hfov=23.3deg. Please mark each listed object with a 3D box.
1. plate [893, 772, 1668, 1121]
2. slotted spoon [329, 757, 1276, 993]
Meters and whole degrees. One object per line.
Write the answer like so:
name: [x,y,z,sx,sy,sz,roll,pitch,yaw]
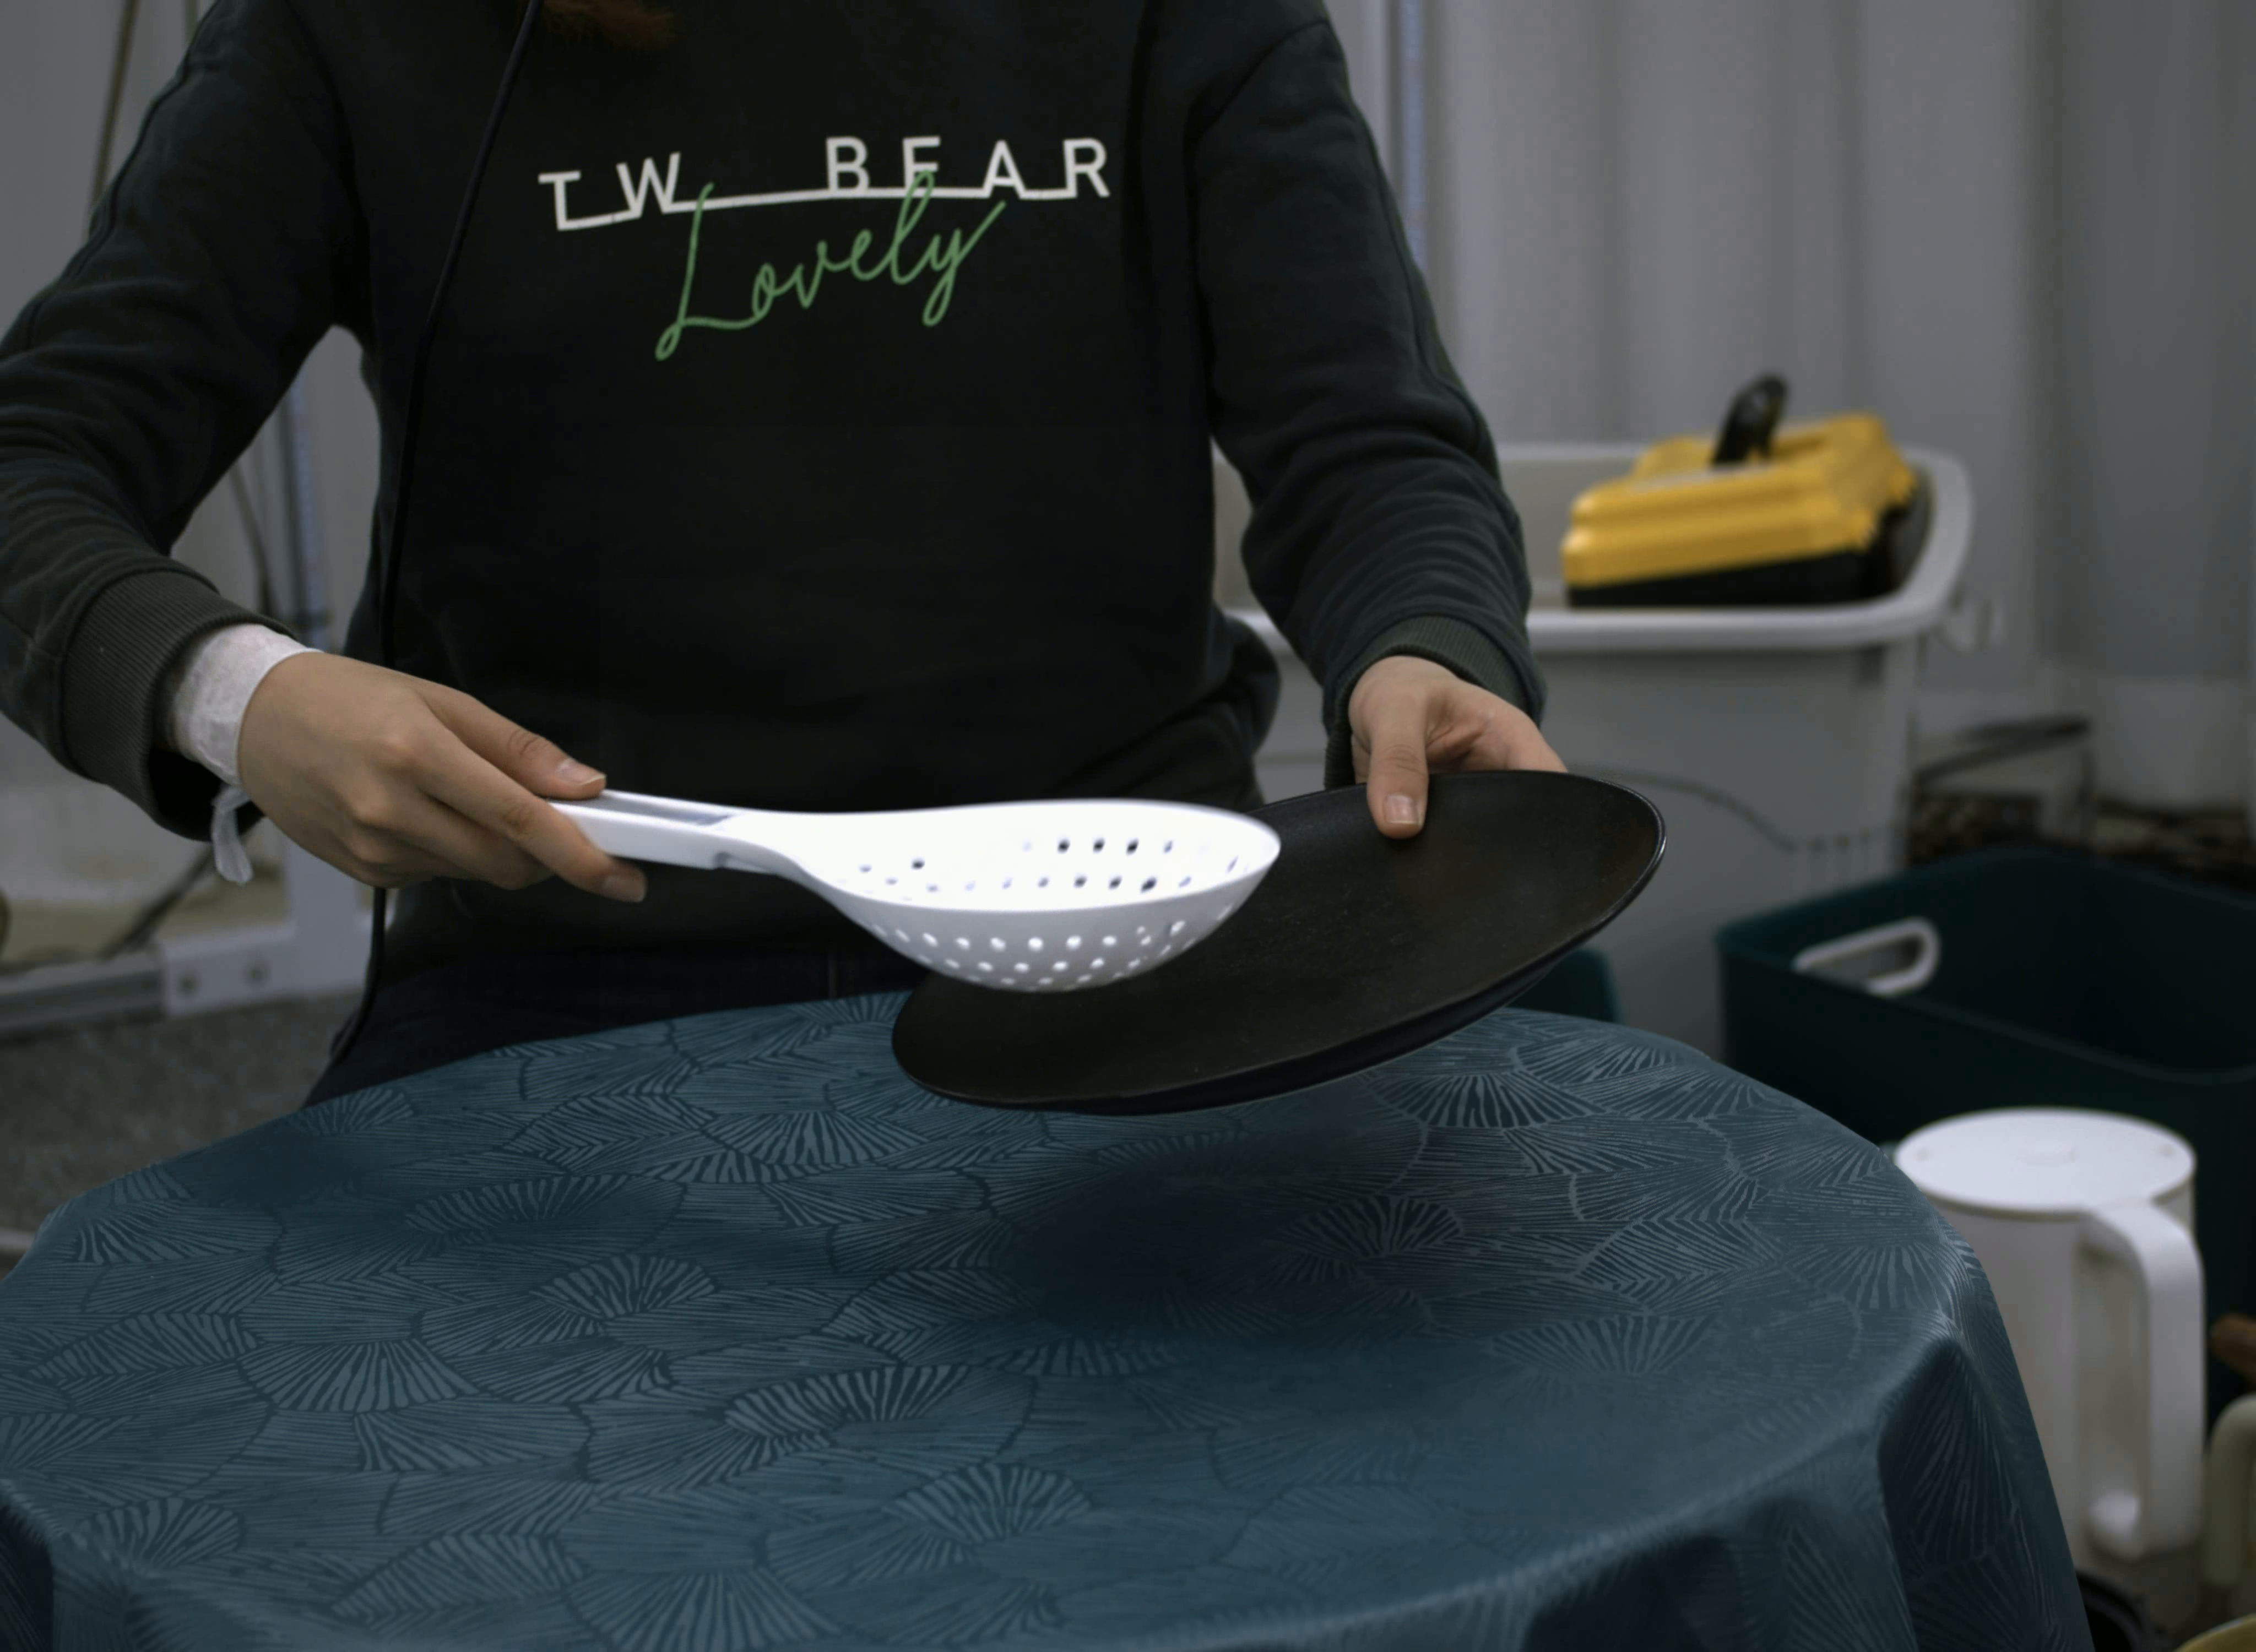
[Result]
plate: [0.048,0.040,1.655,0.244,0.023,0.246,-15,17,4]
slotted spoon: [-0.112,0.005,1.682,0.351,0.045,0.136,13,17,34]
